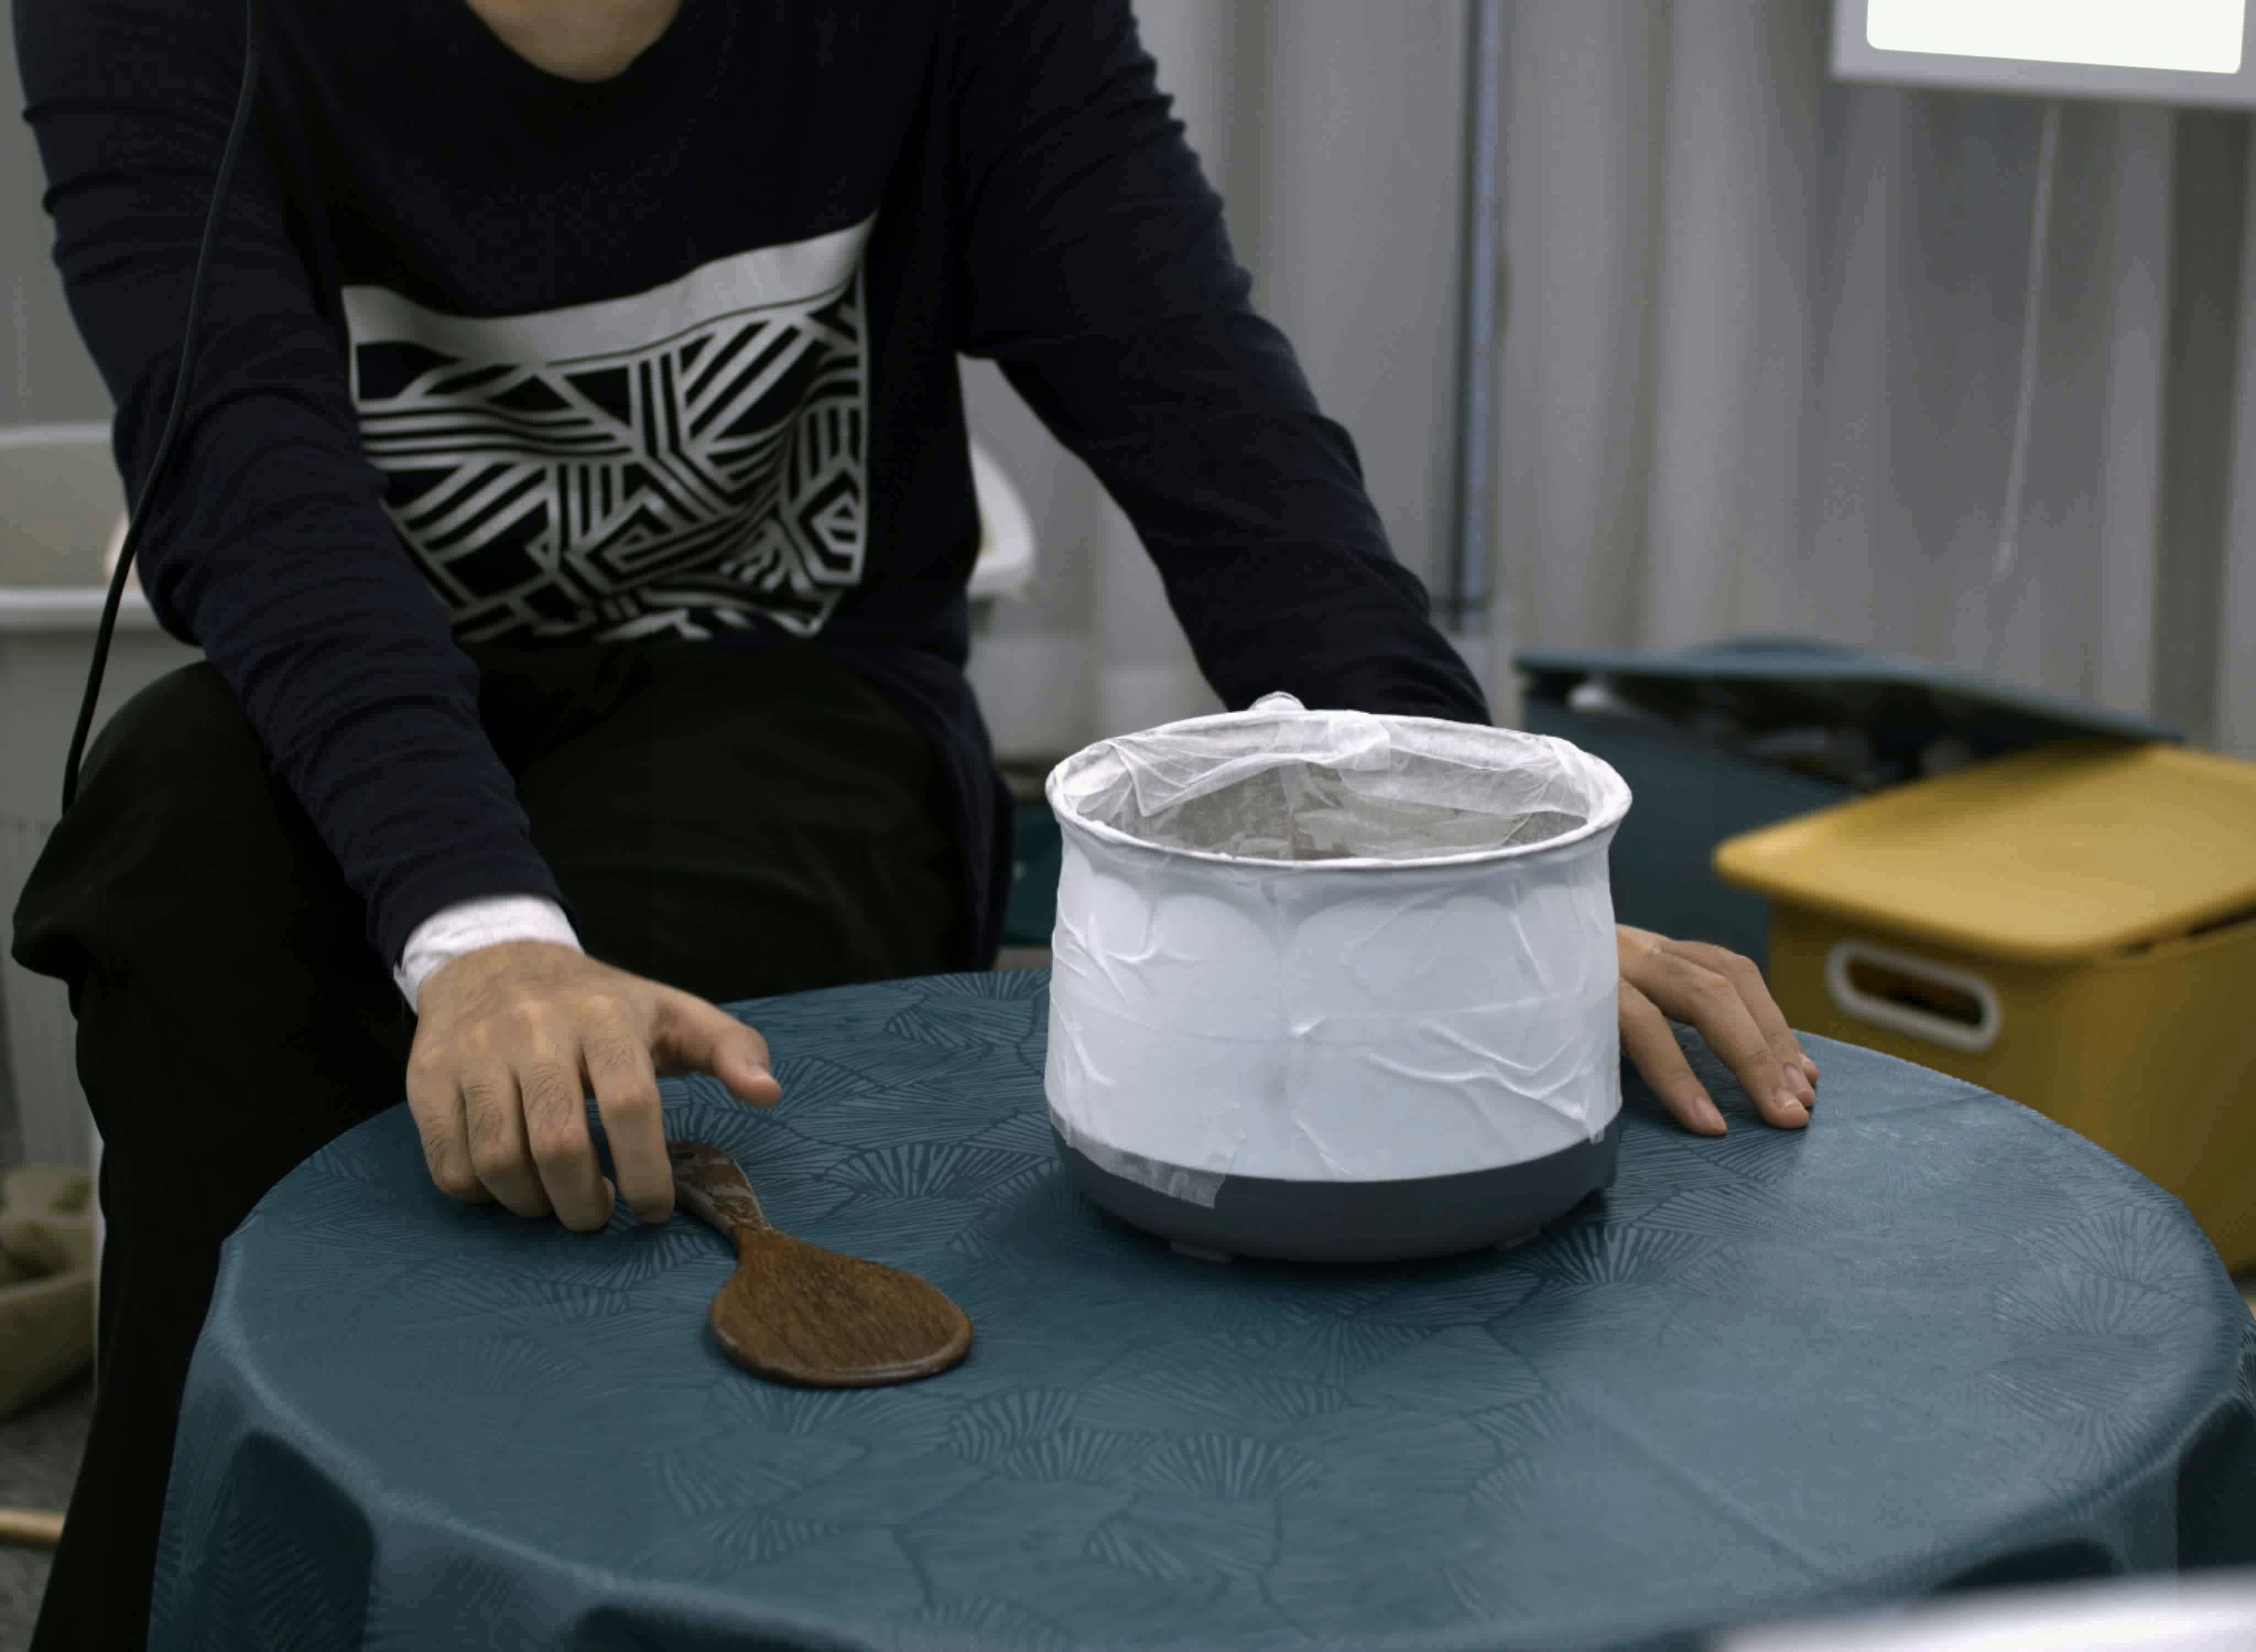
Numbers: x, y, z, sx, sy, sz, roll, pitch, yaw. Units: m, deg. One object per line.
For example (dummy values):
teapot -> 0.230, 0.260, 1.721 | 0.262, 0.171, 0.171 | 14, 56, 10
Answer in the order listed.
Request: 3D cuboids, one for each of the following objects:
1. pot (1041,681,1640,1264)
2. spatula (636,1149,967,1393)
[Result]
pot -> 0.058, 0.040, 1.626 | 0.179, 0.138, 0.231 | 0, 17, -11
spatula -> -0.106, 0.128, 1.556 | 0.072, 0.009, 0.213 | -3, 15, -21
